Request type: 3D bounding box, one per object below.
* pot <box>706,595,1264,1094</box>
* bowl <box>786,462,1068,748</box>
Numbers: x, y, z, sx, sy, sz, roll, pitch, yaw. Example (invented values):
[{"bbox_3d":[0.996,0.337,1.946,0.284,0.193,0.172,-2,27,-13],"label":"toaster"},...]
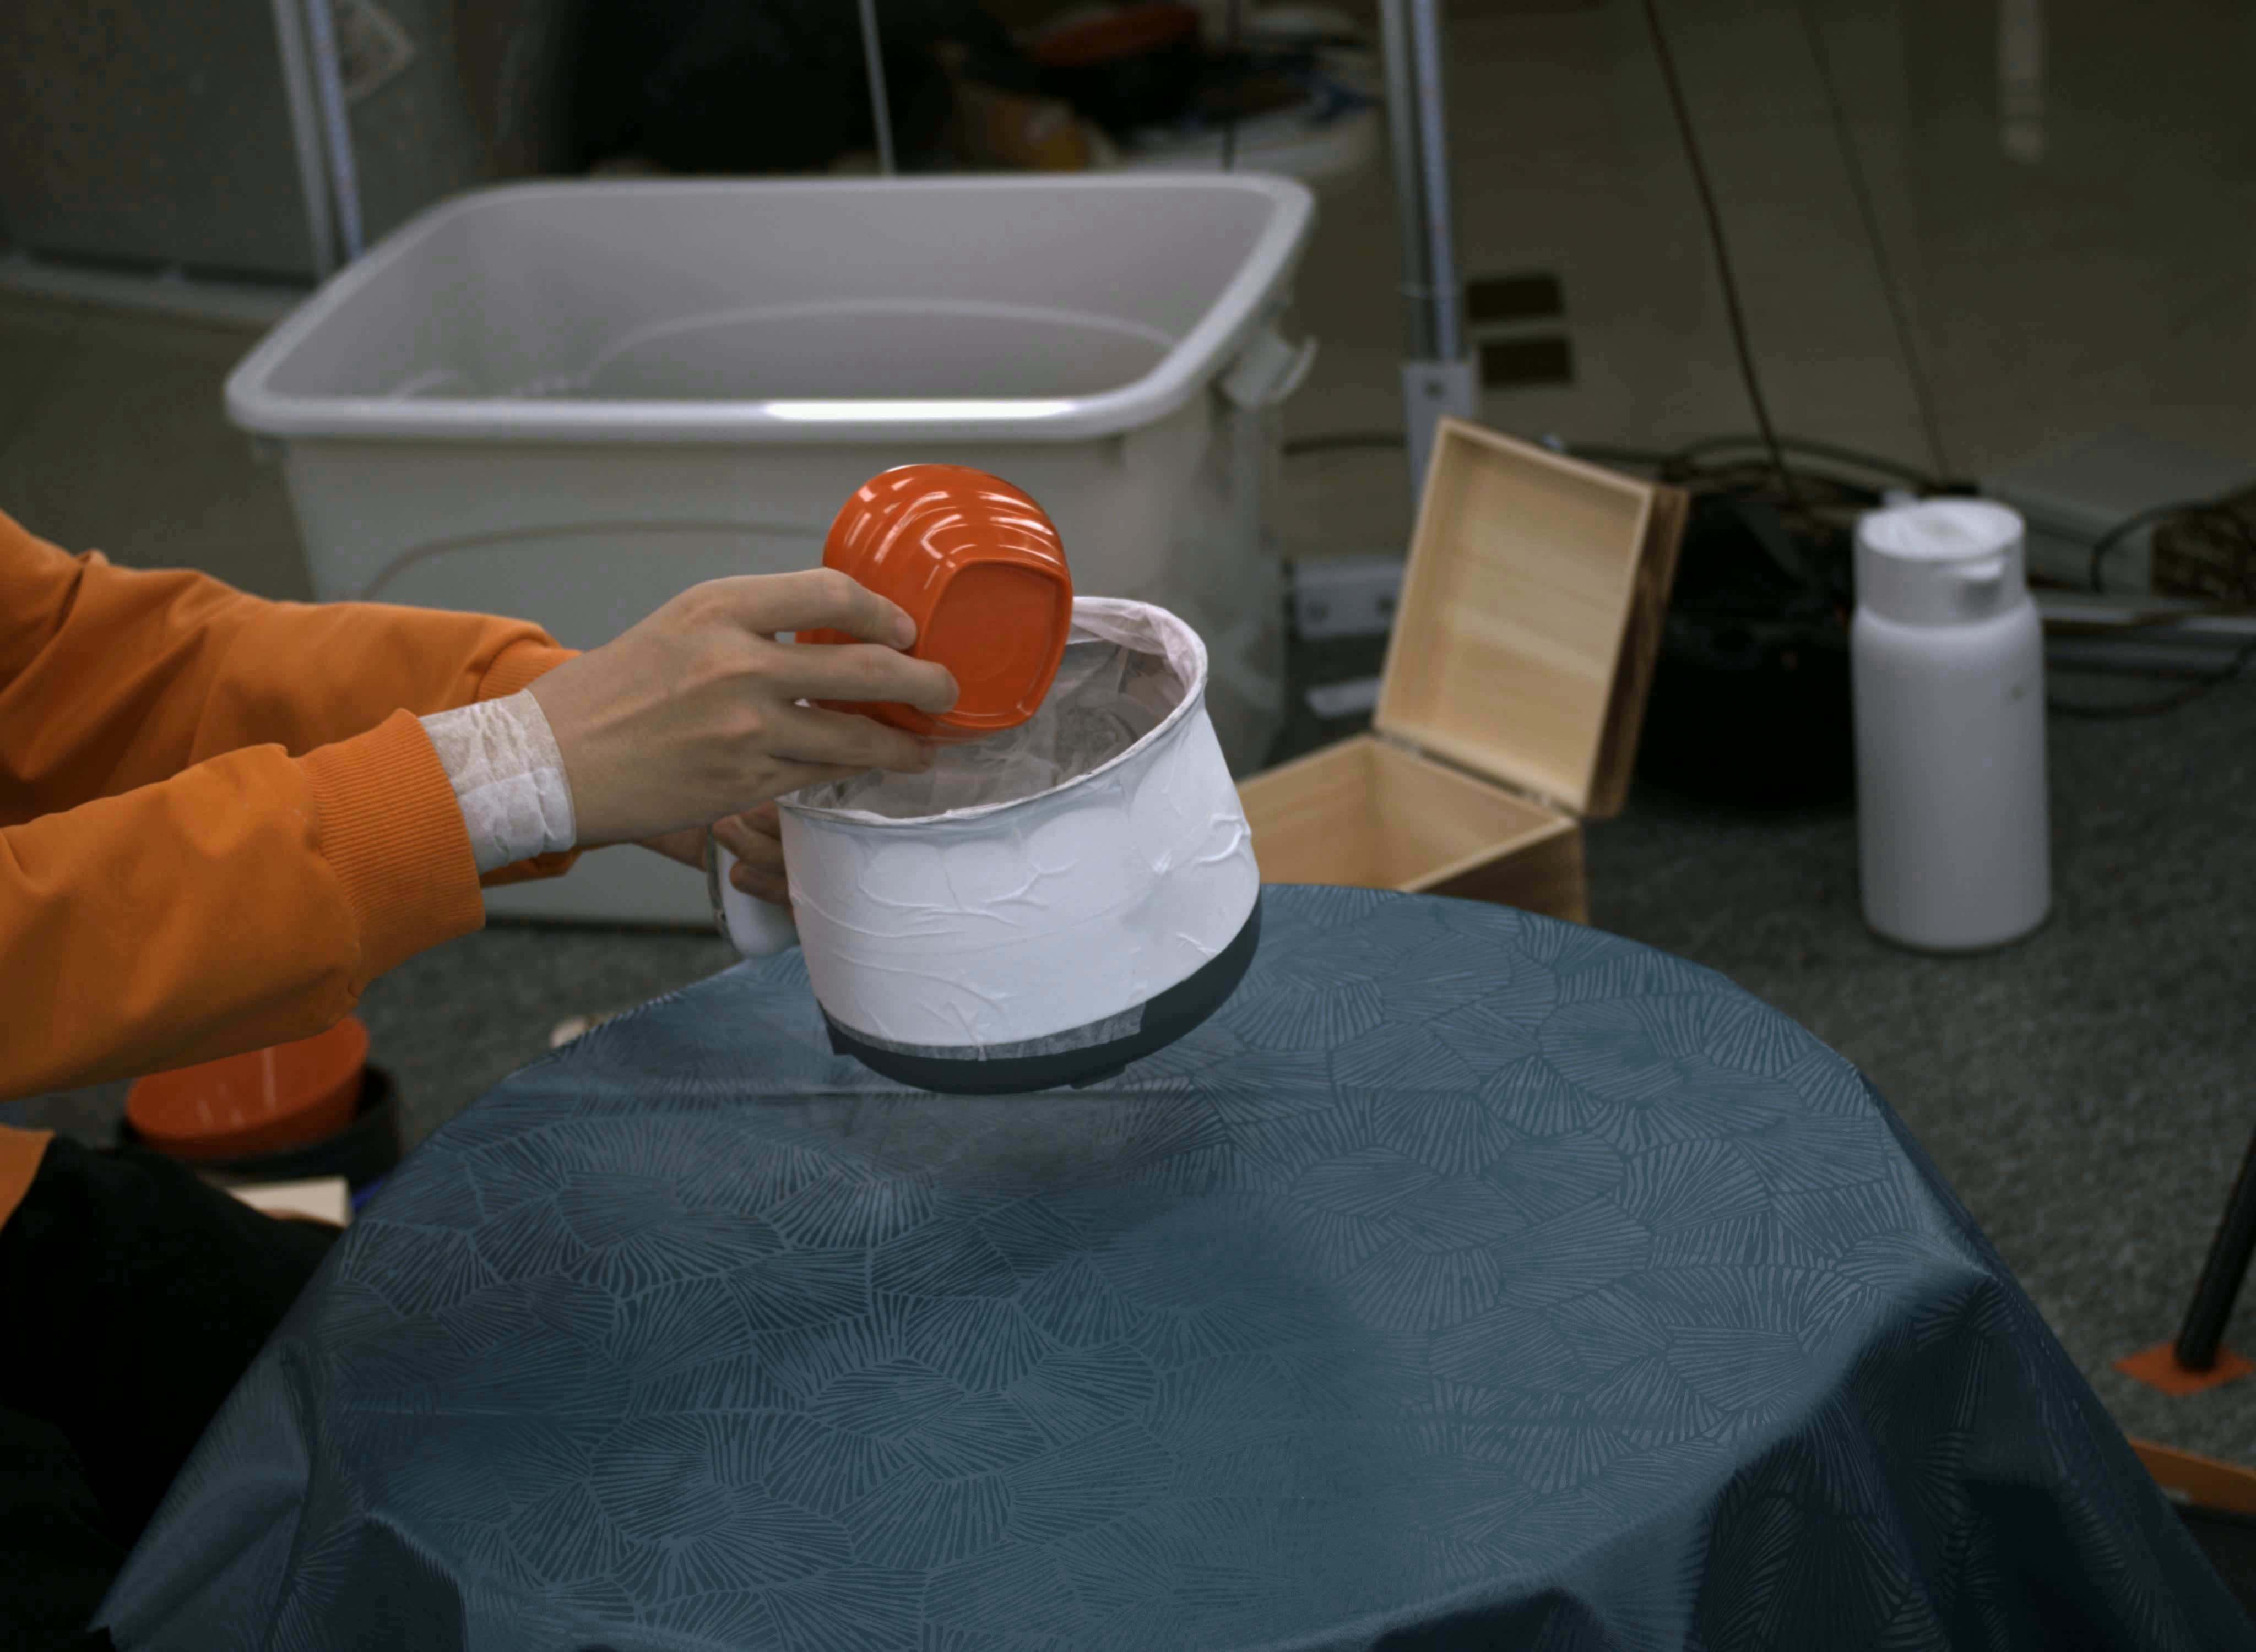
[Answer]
[{"bbox_3d":[-0.066,0.008,2.163,0.233,0.139,0.176,3,32,30],"label":"pot"},{"bbox_3d":[-0.066,-0.076,2.108,0.118,0.121,0.051,-22,34,-30],"label":"bowl"}]
